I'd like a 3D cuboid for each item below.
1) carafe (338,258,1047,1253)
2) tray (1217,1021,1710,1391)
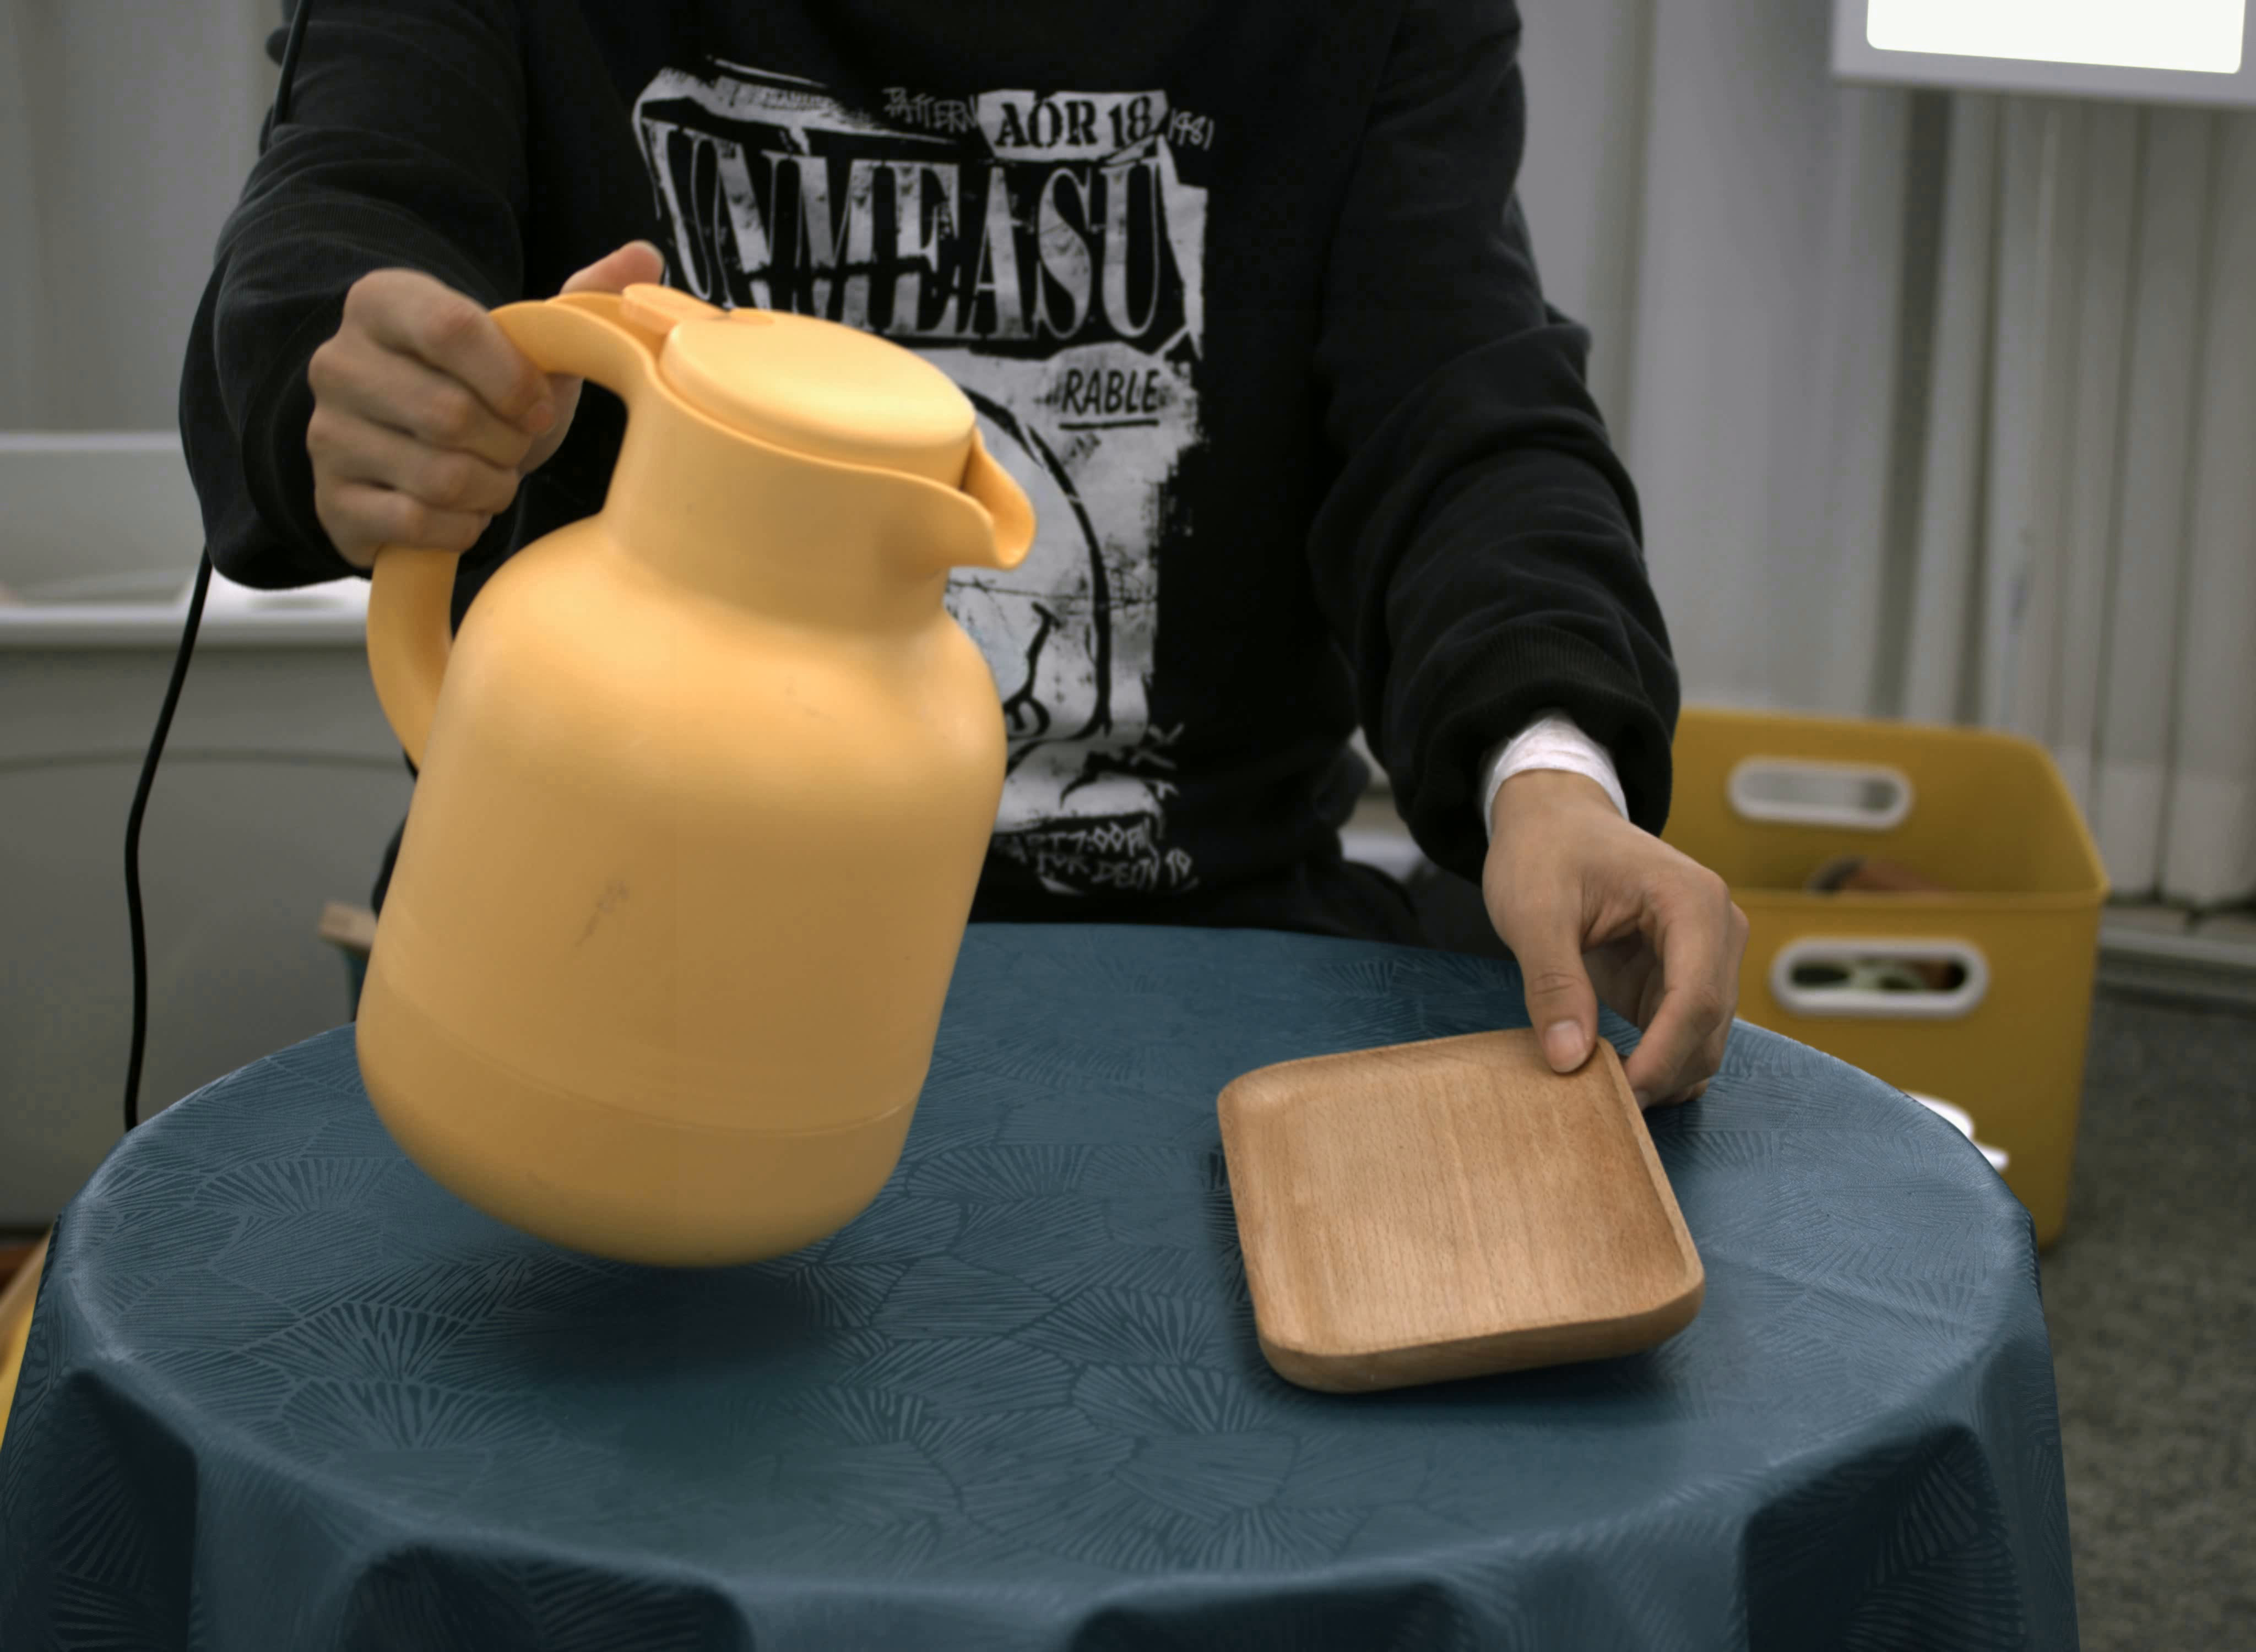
[{"bbox_3d":[-0.132,-0.029,1.488,0.200,0.262,0.164,31,24,25],"label":"carafe"},{"bbox_3d":[0.096,0.110,1.568,0.130,0.023,0.249,-5,16,-1],"label":"tray"}]
